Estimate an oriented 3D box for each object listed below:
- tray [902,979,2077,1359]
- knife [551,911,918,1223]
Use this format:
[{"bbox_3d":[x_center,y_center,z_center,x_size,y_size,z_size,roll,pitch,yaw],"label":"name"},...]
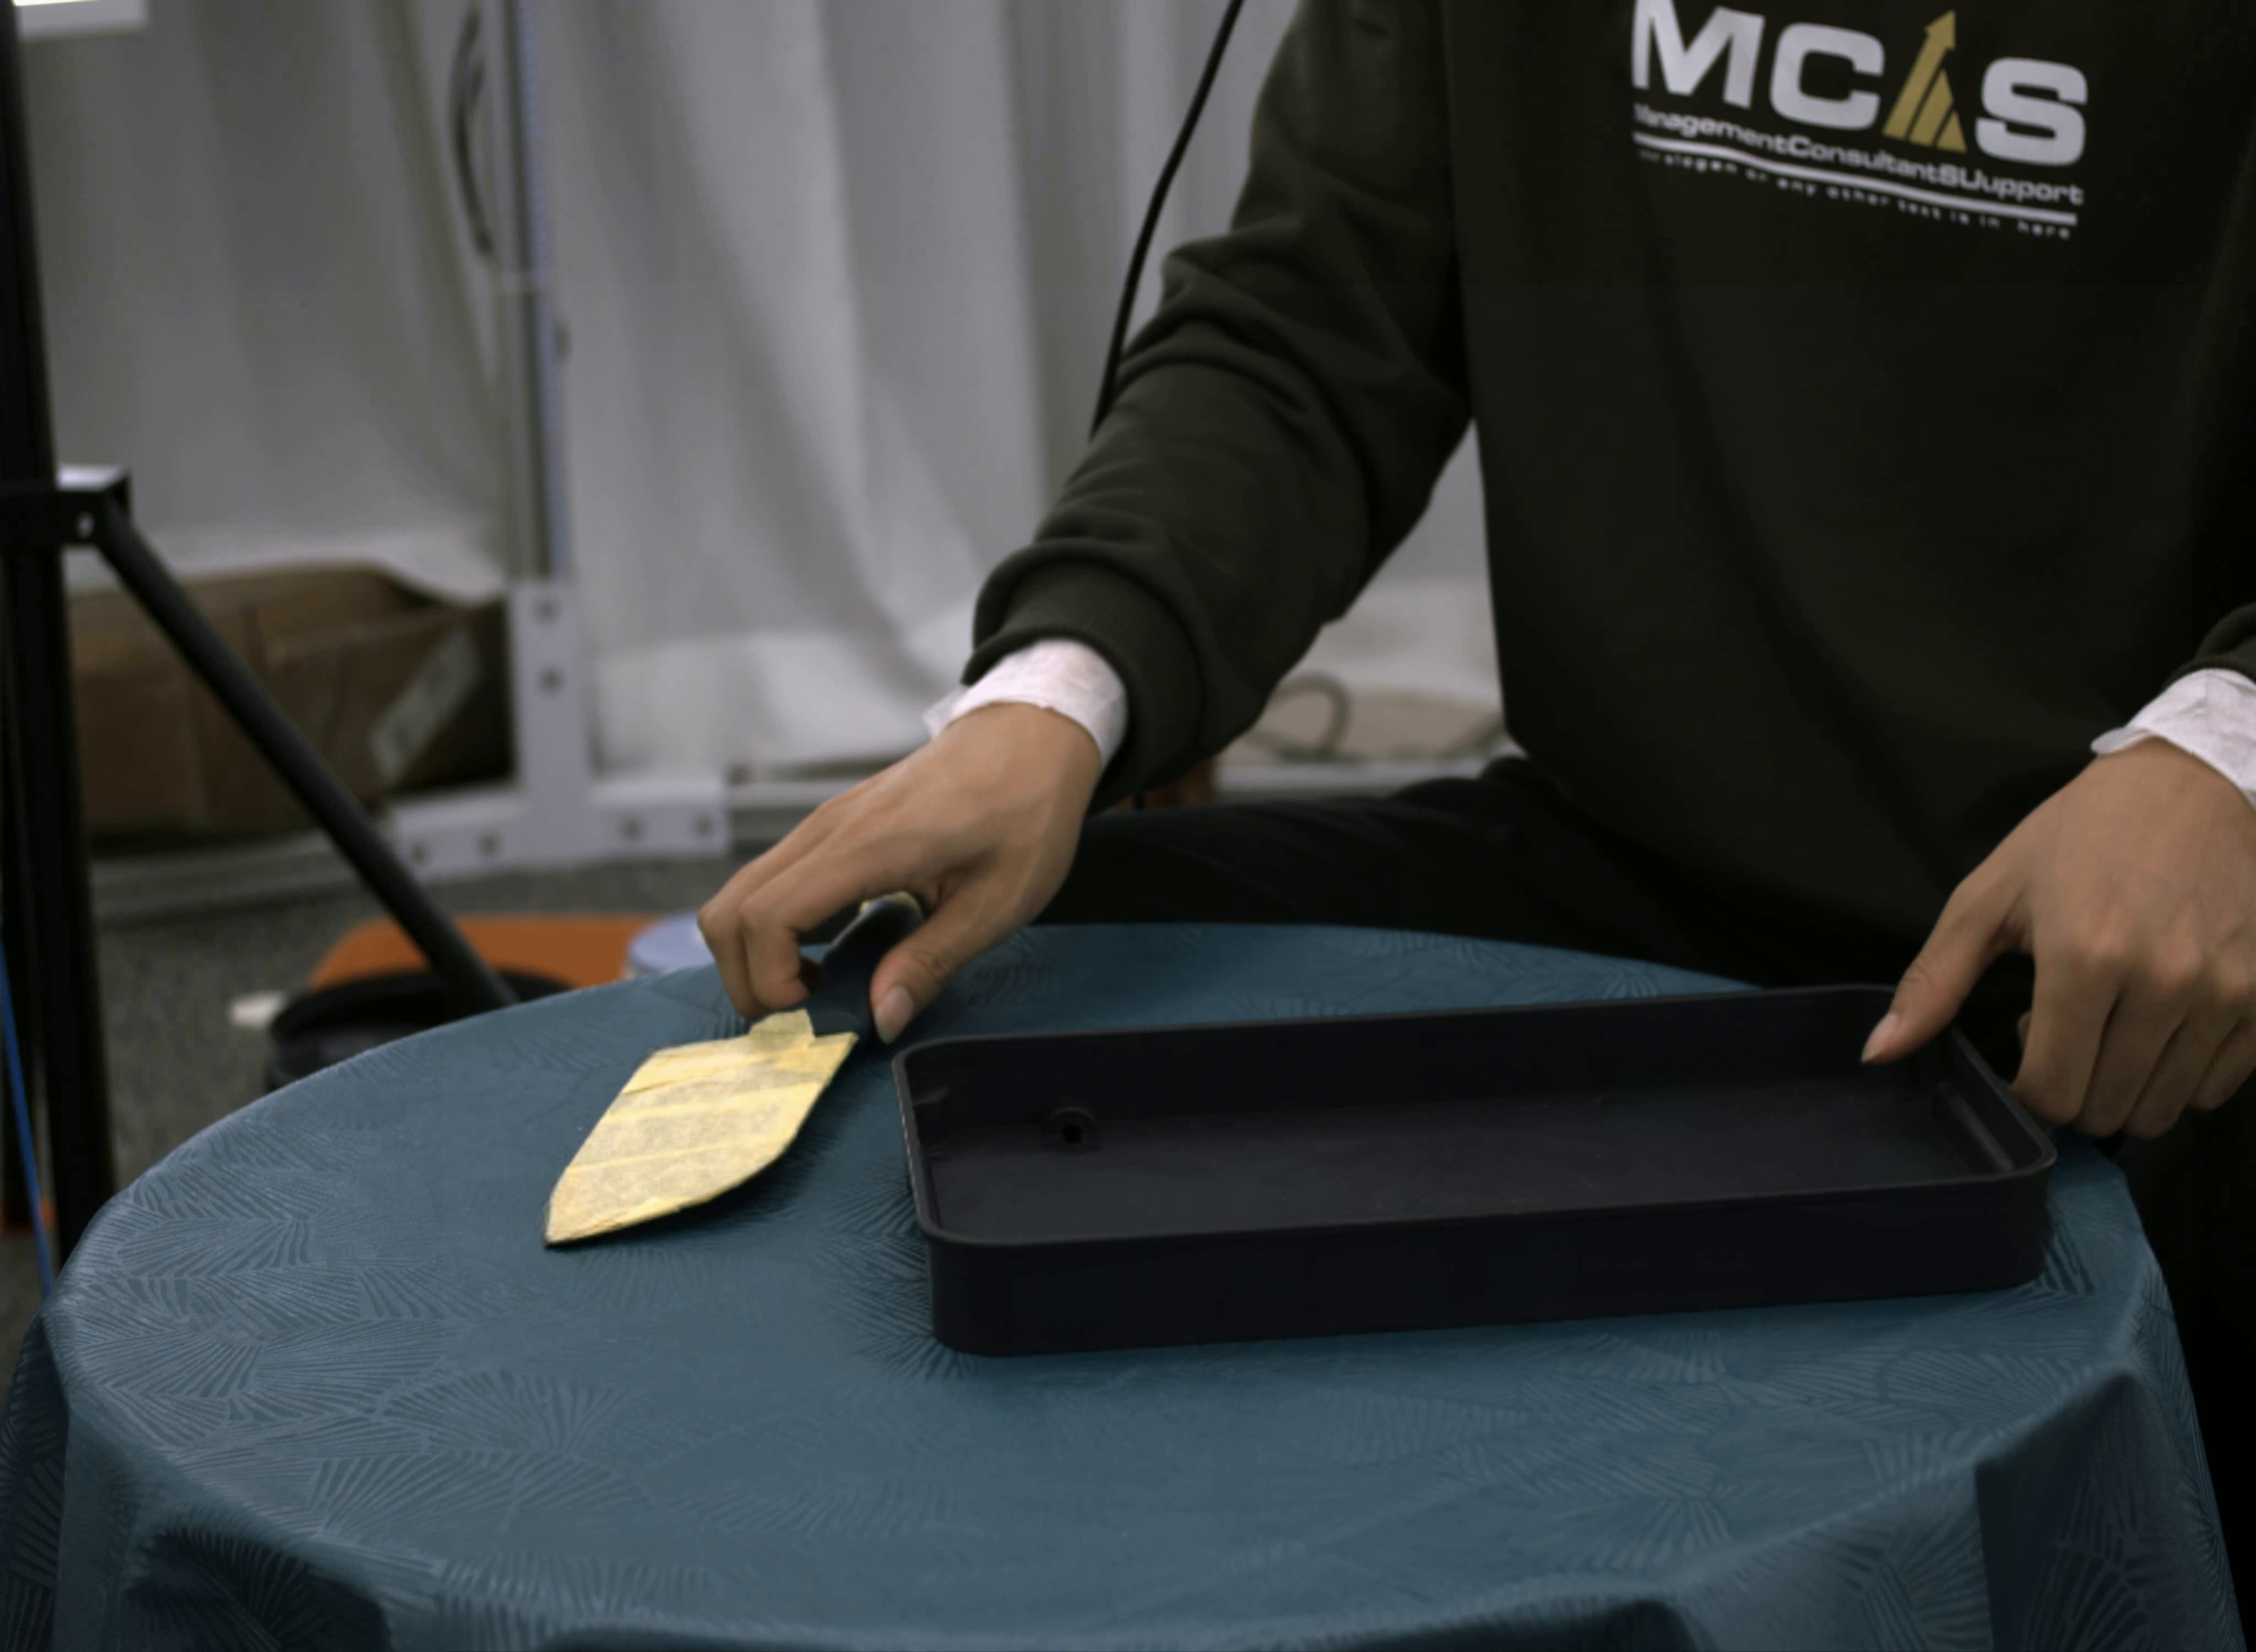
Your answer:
[{"bbox_3d":[0.099,0.096,1.524,0.315,0.037,0.186,-4,15,-5],"label":"tray"},{"bbox_3d":[-0.119,0.076,1.670,0.081,0.027,0.287,-5,14,14],"label":"knife"}]
